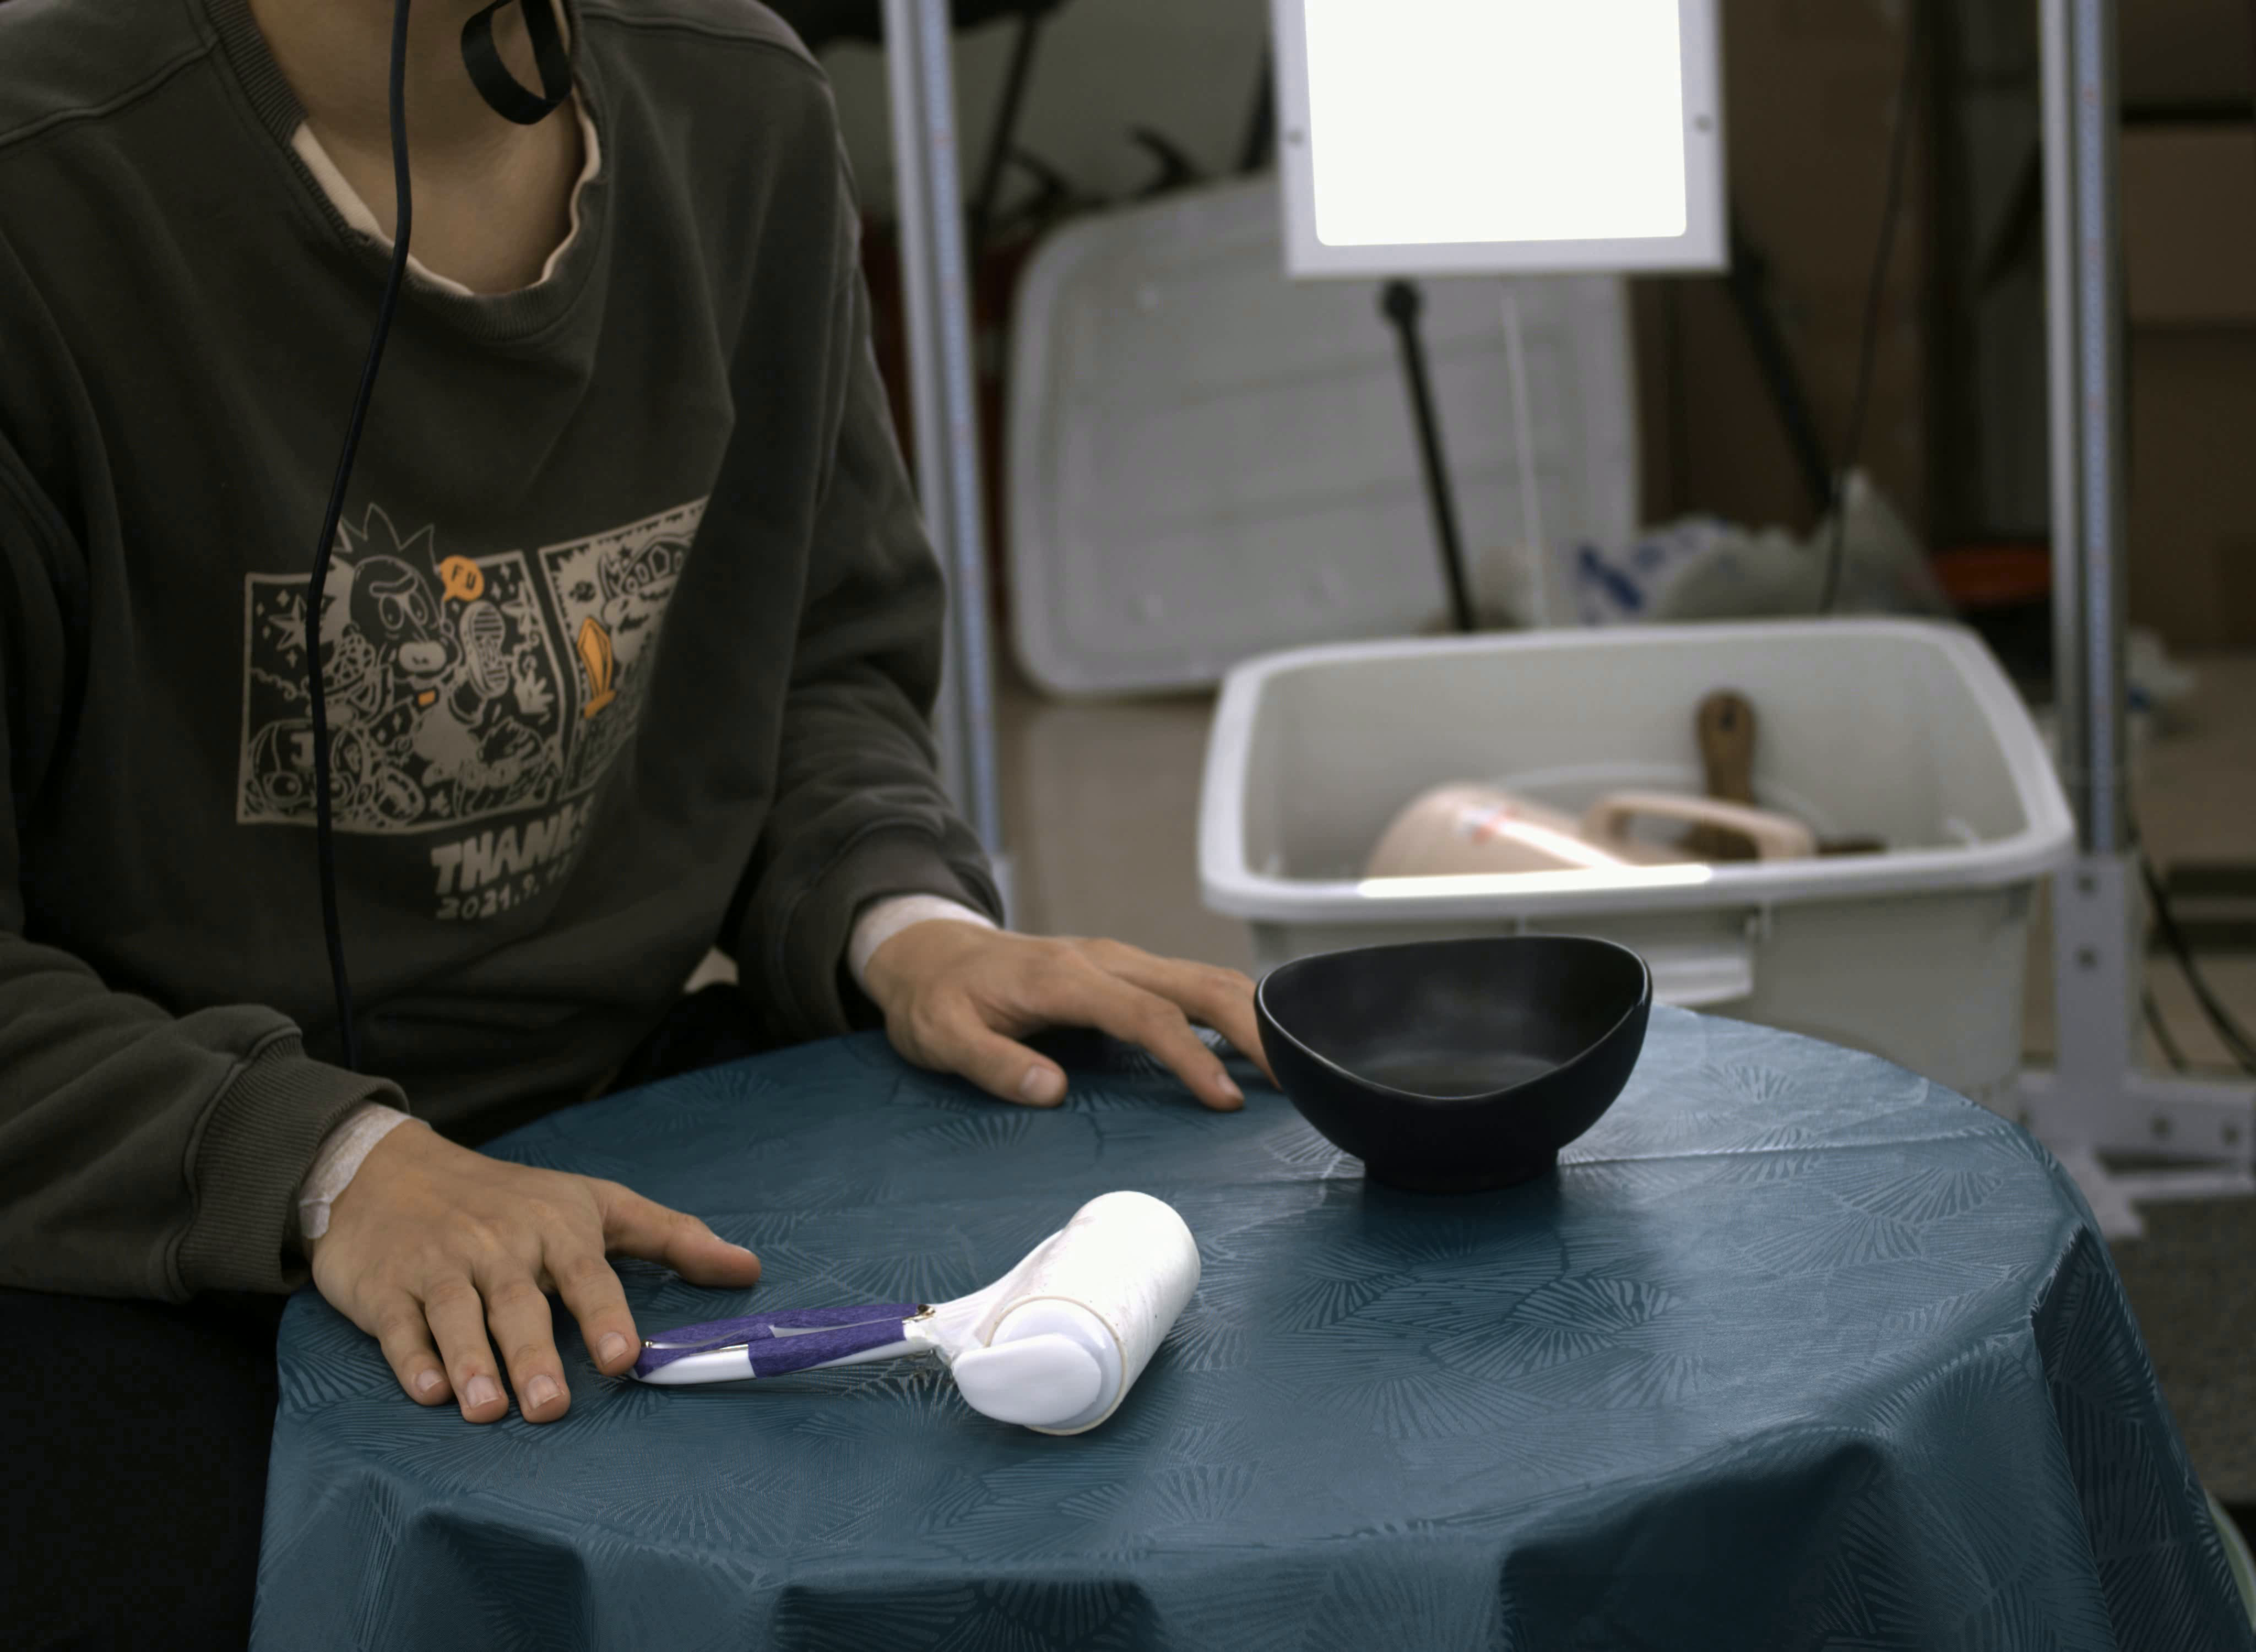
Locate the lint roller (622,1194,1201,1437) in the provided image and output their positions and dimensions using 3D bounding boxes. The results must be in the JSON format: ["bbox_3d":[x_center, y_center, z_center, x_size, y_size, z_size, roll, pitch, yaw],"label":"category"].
[{"bbox_3d":[-0.073,0.150,1.729,0.183,0.050,0.131,2,16,18],"label":"lint roller"}]

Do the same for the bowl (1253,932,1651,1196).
[{"bbox_3d":[0.114,0.086,1.889,0.137,0.067,0.170,-6,16,1],"label":"bowl"}]
